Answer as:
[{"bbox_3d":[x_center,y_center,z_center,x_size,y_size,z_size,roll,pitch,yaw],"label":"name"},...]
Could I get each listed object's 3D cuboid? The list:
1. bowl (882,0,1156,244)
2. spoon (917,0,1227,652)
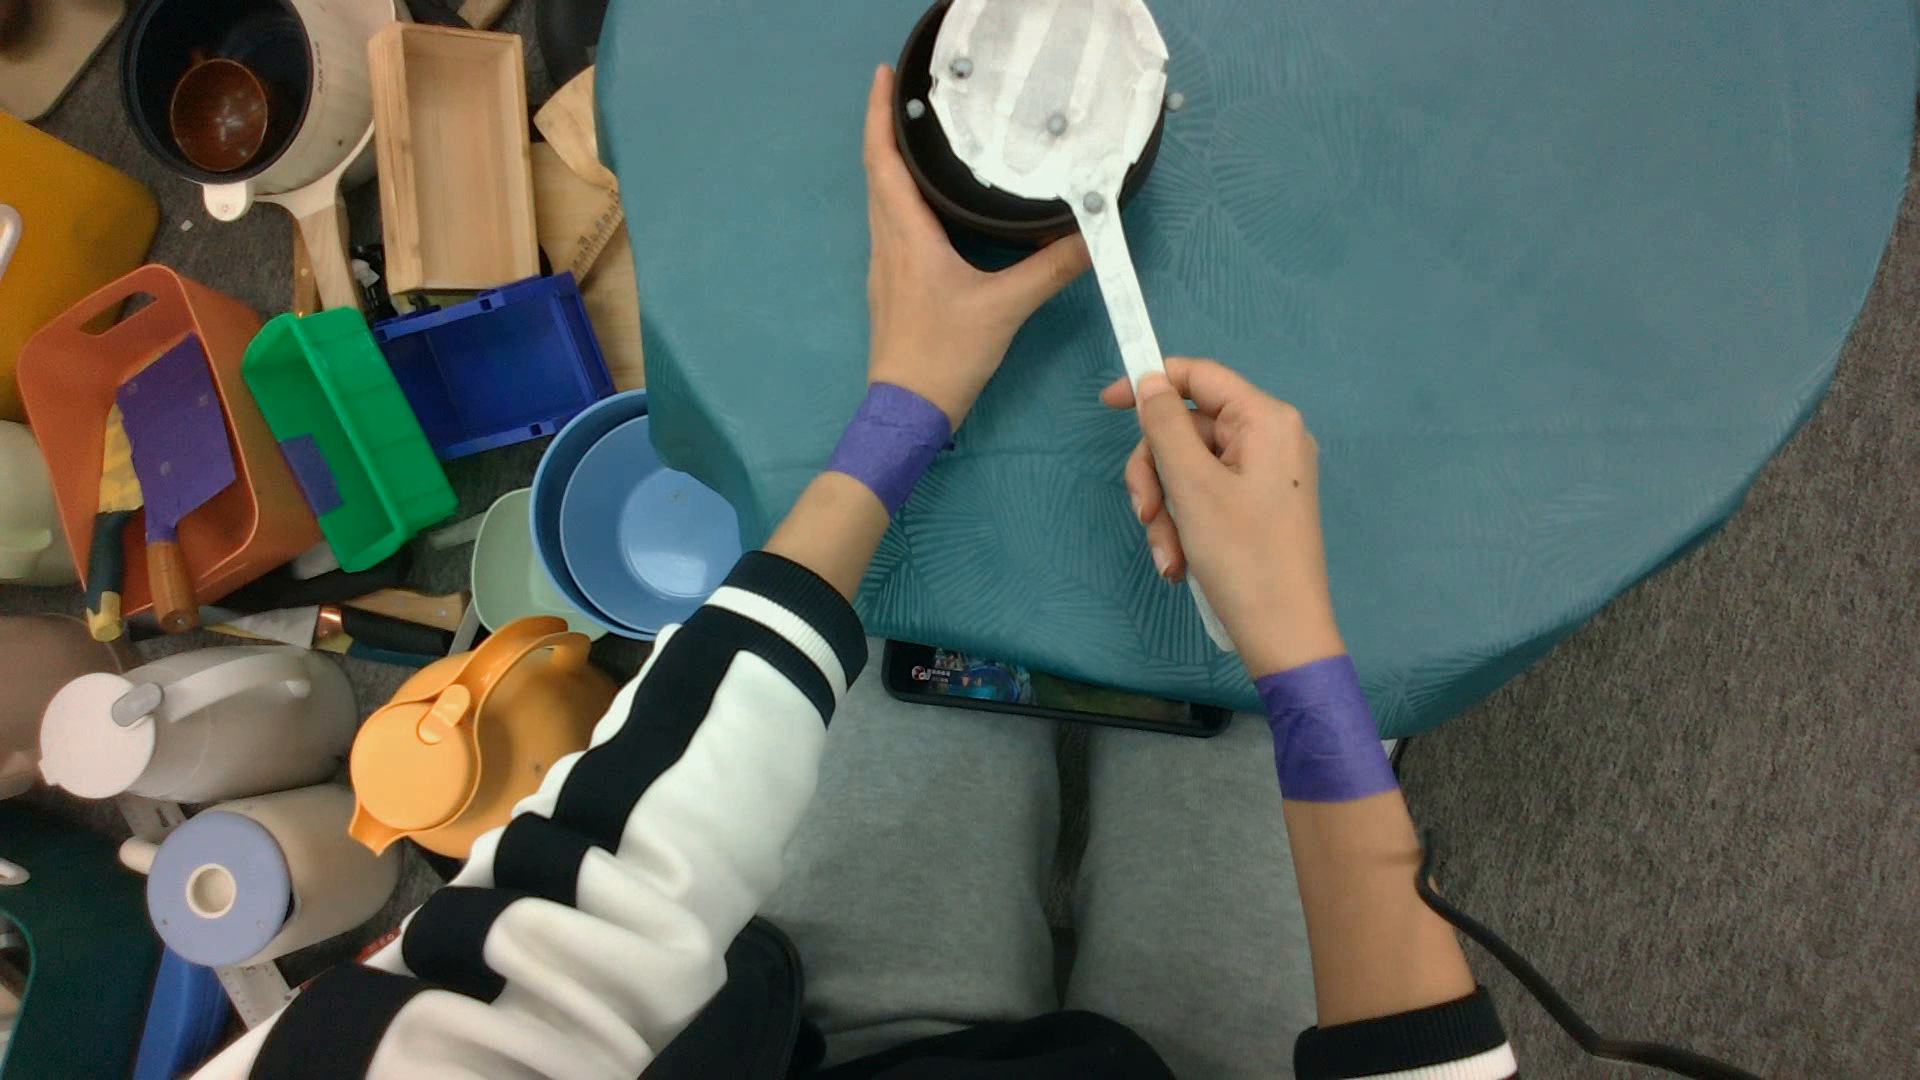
[{"bbox_3d":[0.028,-0.188,0.615,0.118,0.070,0.118,0,86,6],"label":"bowl"},{"bbox_3d":[0.053,-0.090,0.538,0.100,0.059,0.278,-17,79,17],"label":"spoon"}]
